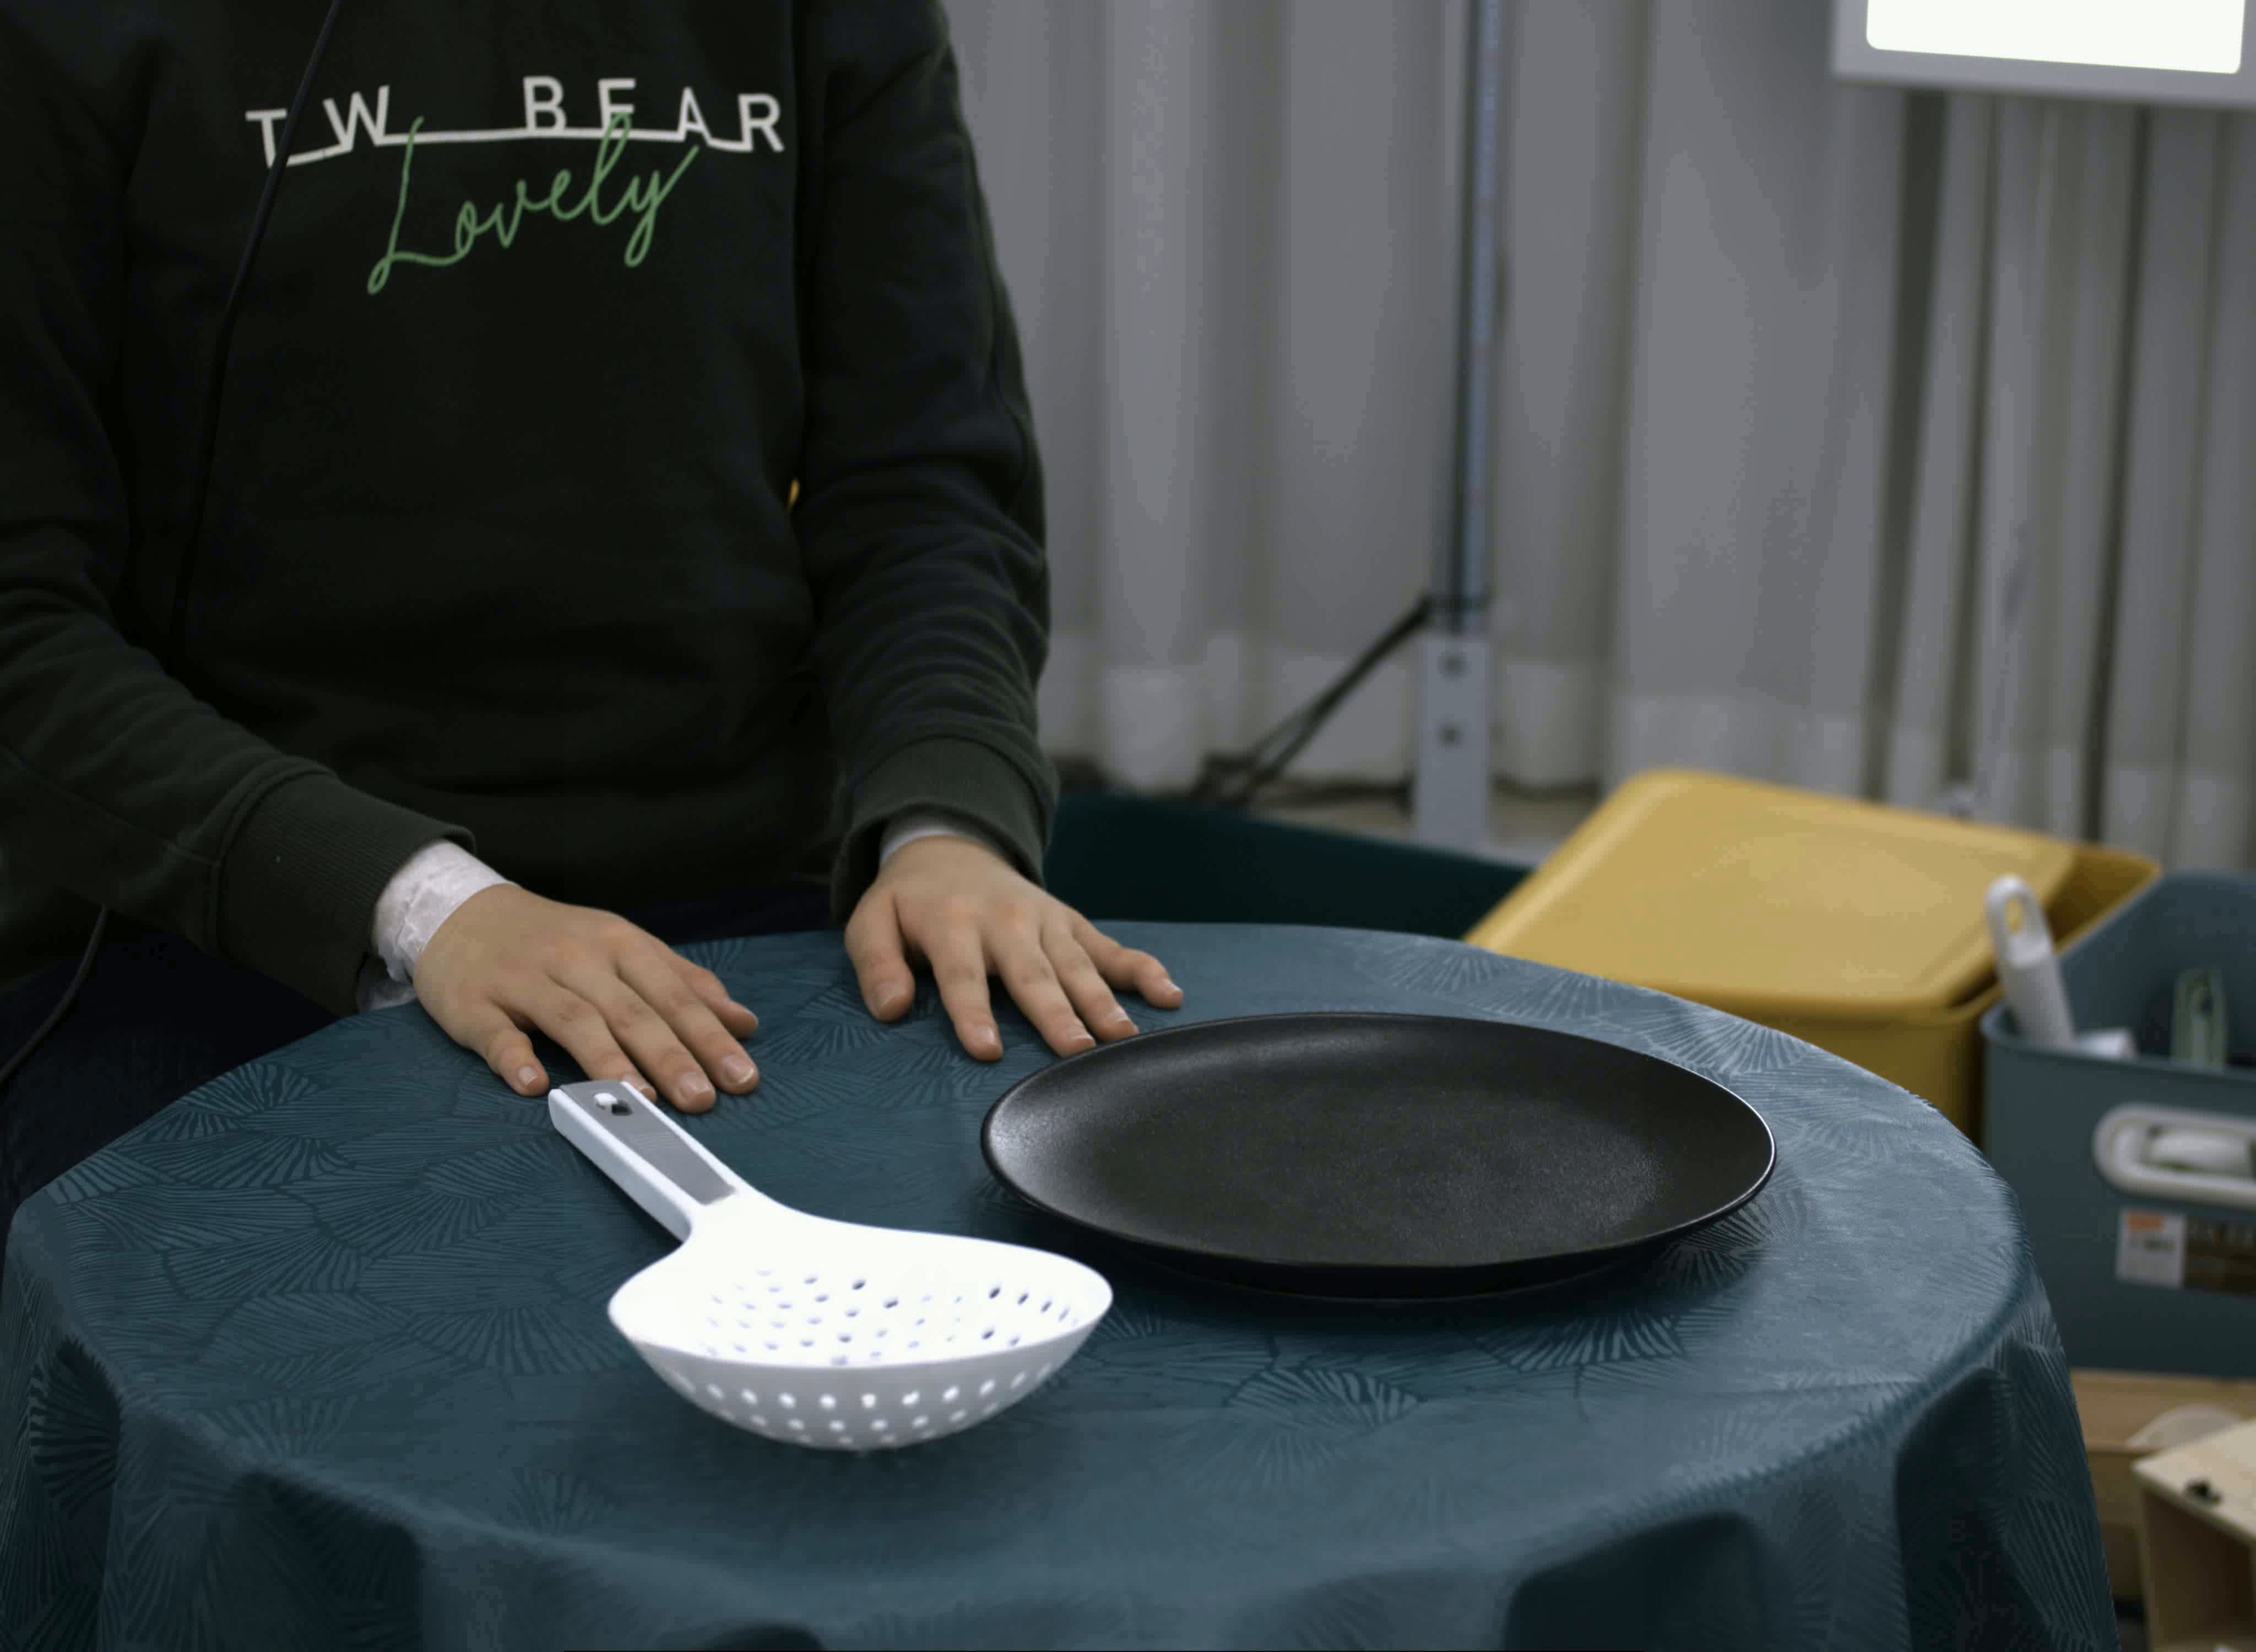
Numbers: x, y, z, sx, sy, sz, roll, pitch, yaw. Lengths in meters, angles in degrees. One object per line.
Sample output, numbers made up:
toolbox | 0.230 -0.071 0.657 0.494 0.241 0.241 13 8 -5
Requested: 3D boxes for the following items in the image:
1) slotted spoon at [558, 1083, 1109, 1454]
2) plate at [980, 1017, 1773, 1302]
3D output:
slotted spoon | -0.111 0.118 1.520 0.136 0.046 0.346 -3 15 -21
plate | 0.076 0.104 1.617 0.243 0.023 0.243 1 16 0
